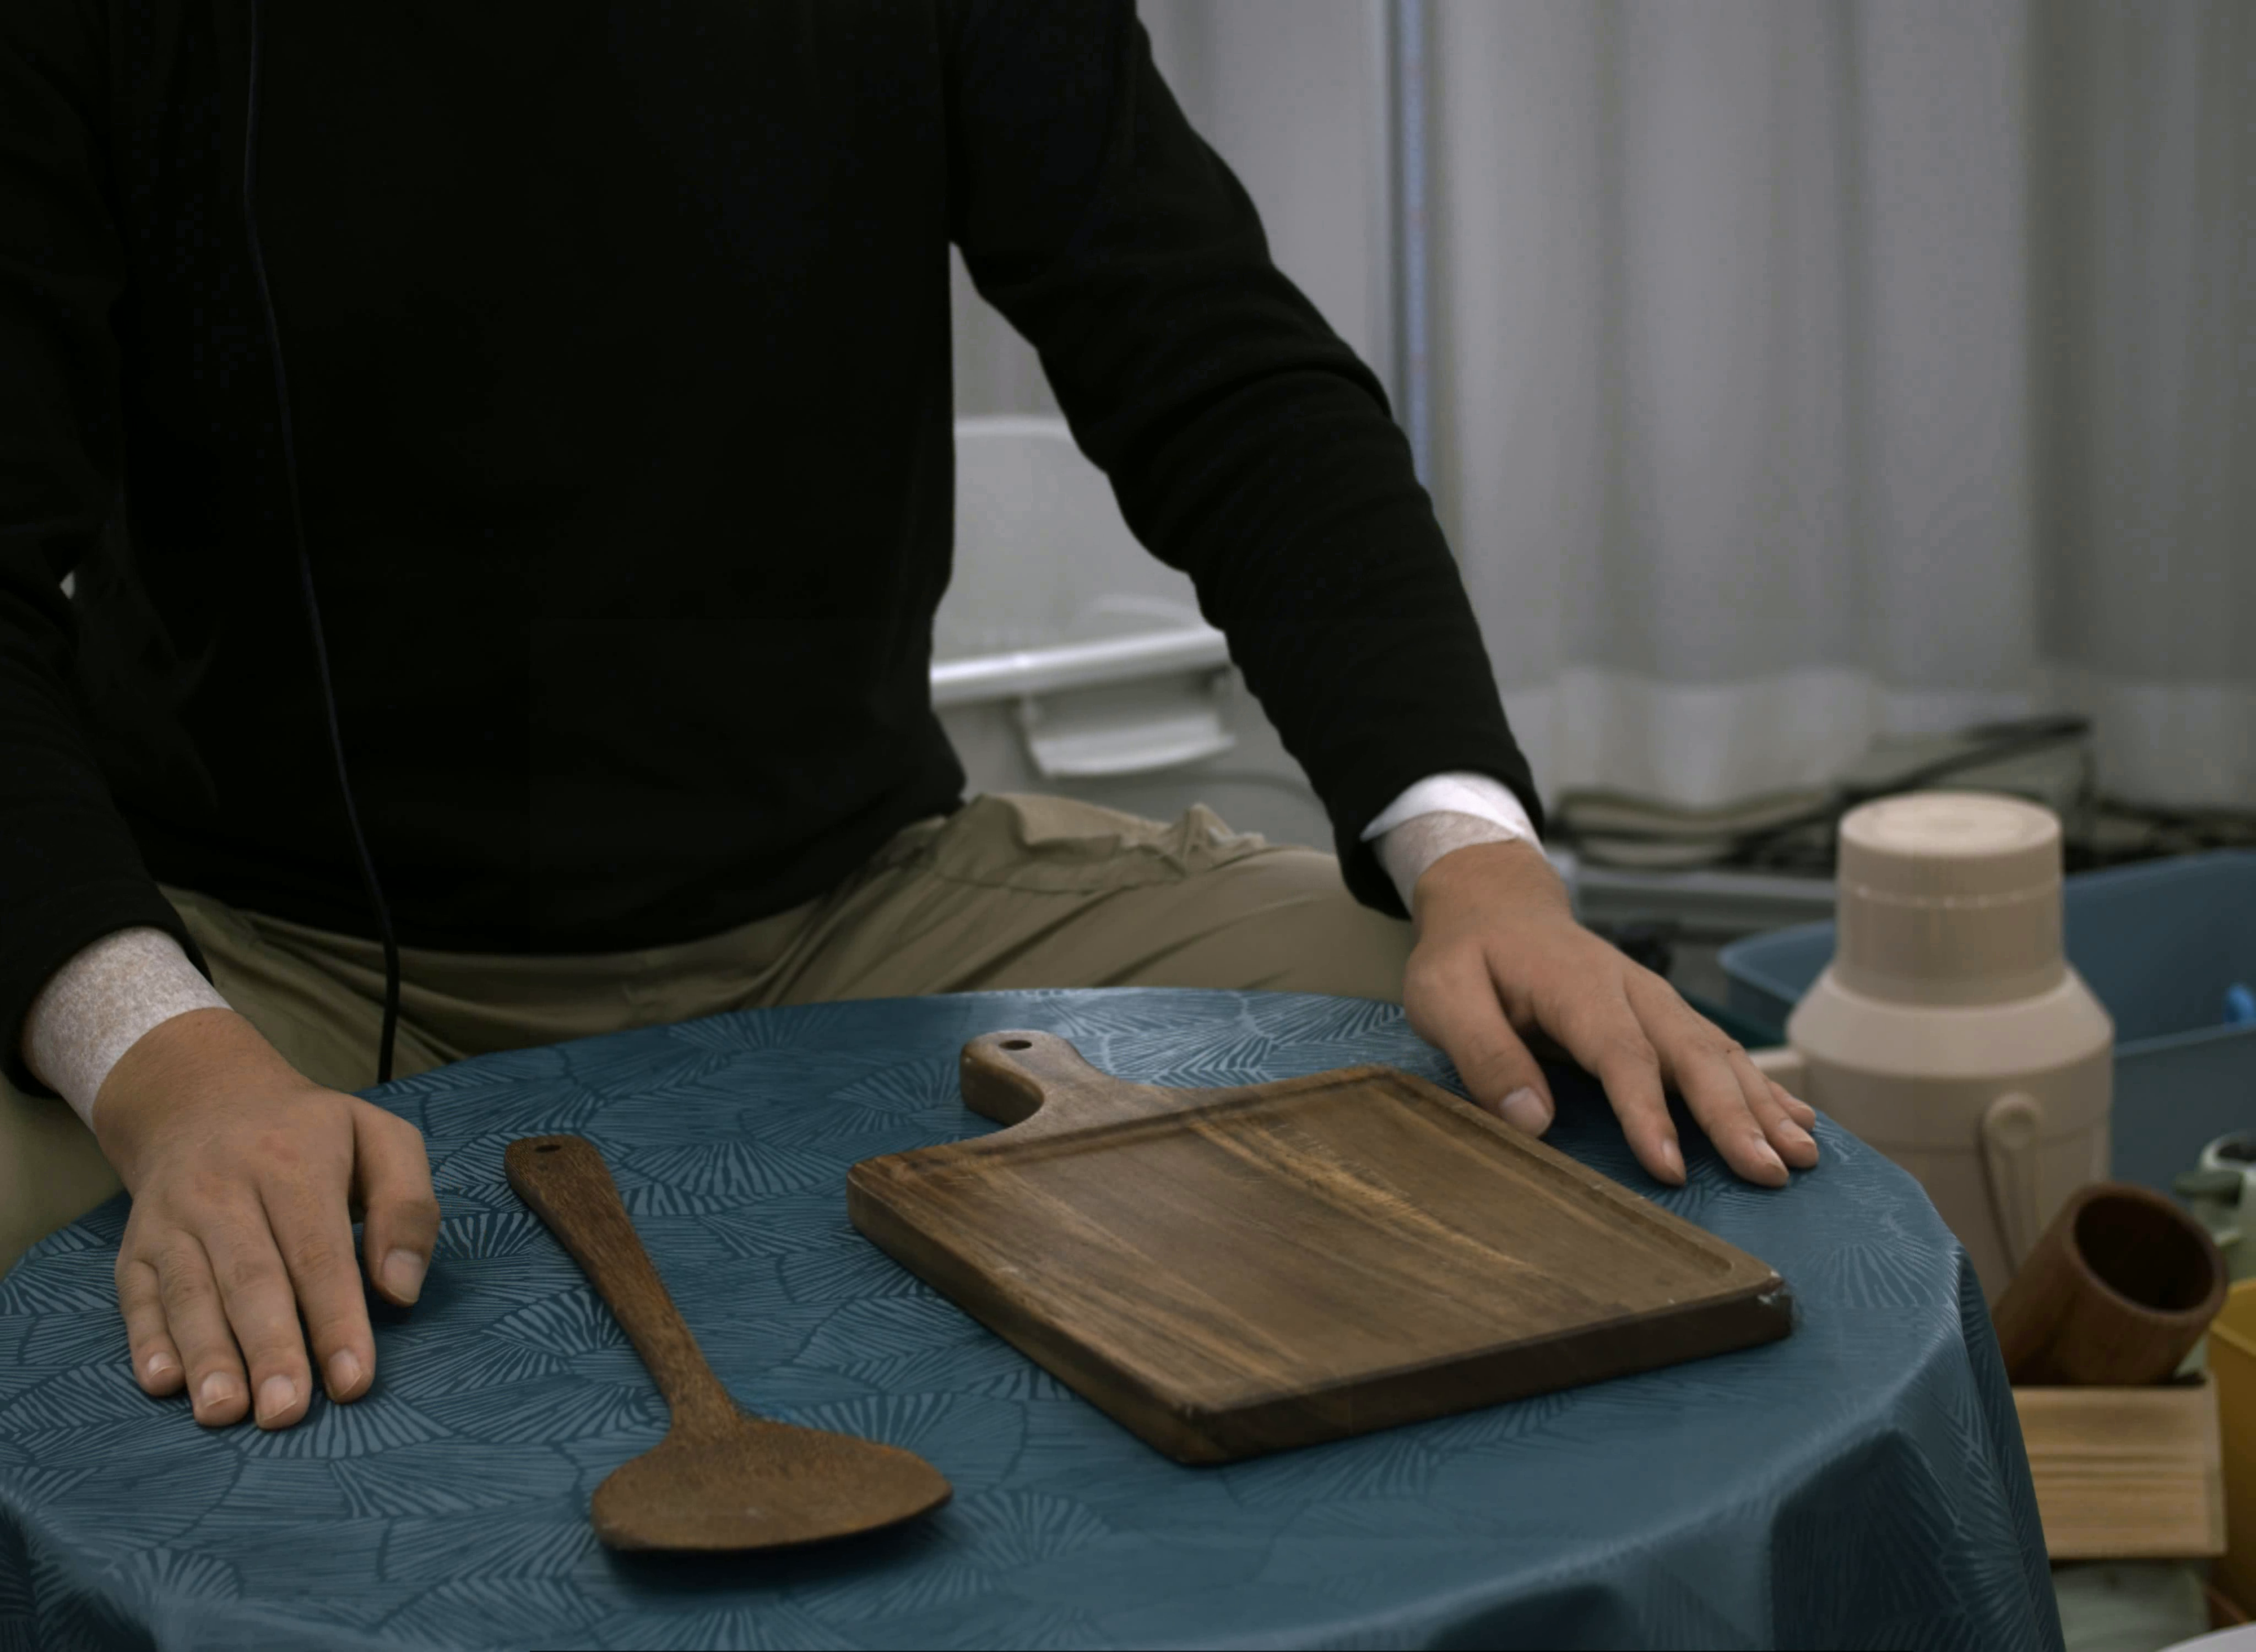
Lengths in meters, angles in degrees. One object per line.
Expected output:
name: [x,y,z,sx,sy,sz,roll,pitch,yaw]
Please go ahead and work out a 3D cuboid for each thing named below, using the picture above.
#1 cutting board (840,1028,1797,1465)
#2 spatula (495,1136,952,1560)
cutting board: [0.030,0.114,1.669,0.200,0.023,0.355,-9,16,-24]
spatula: [-0.140,0.145,1.597,0.095,0.016,0.389,-6,15,-15]
